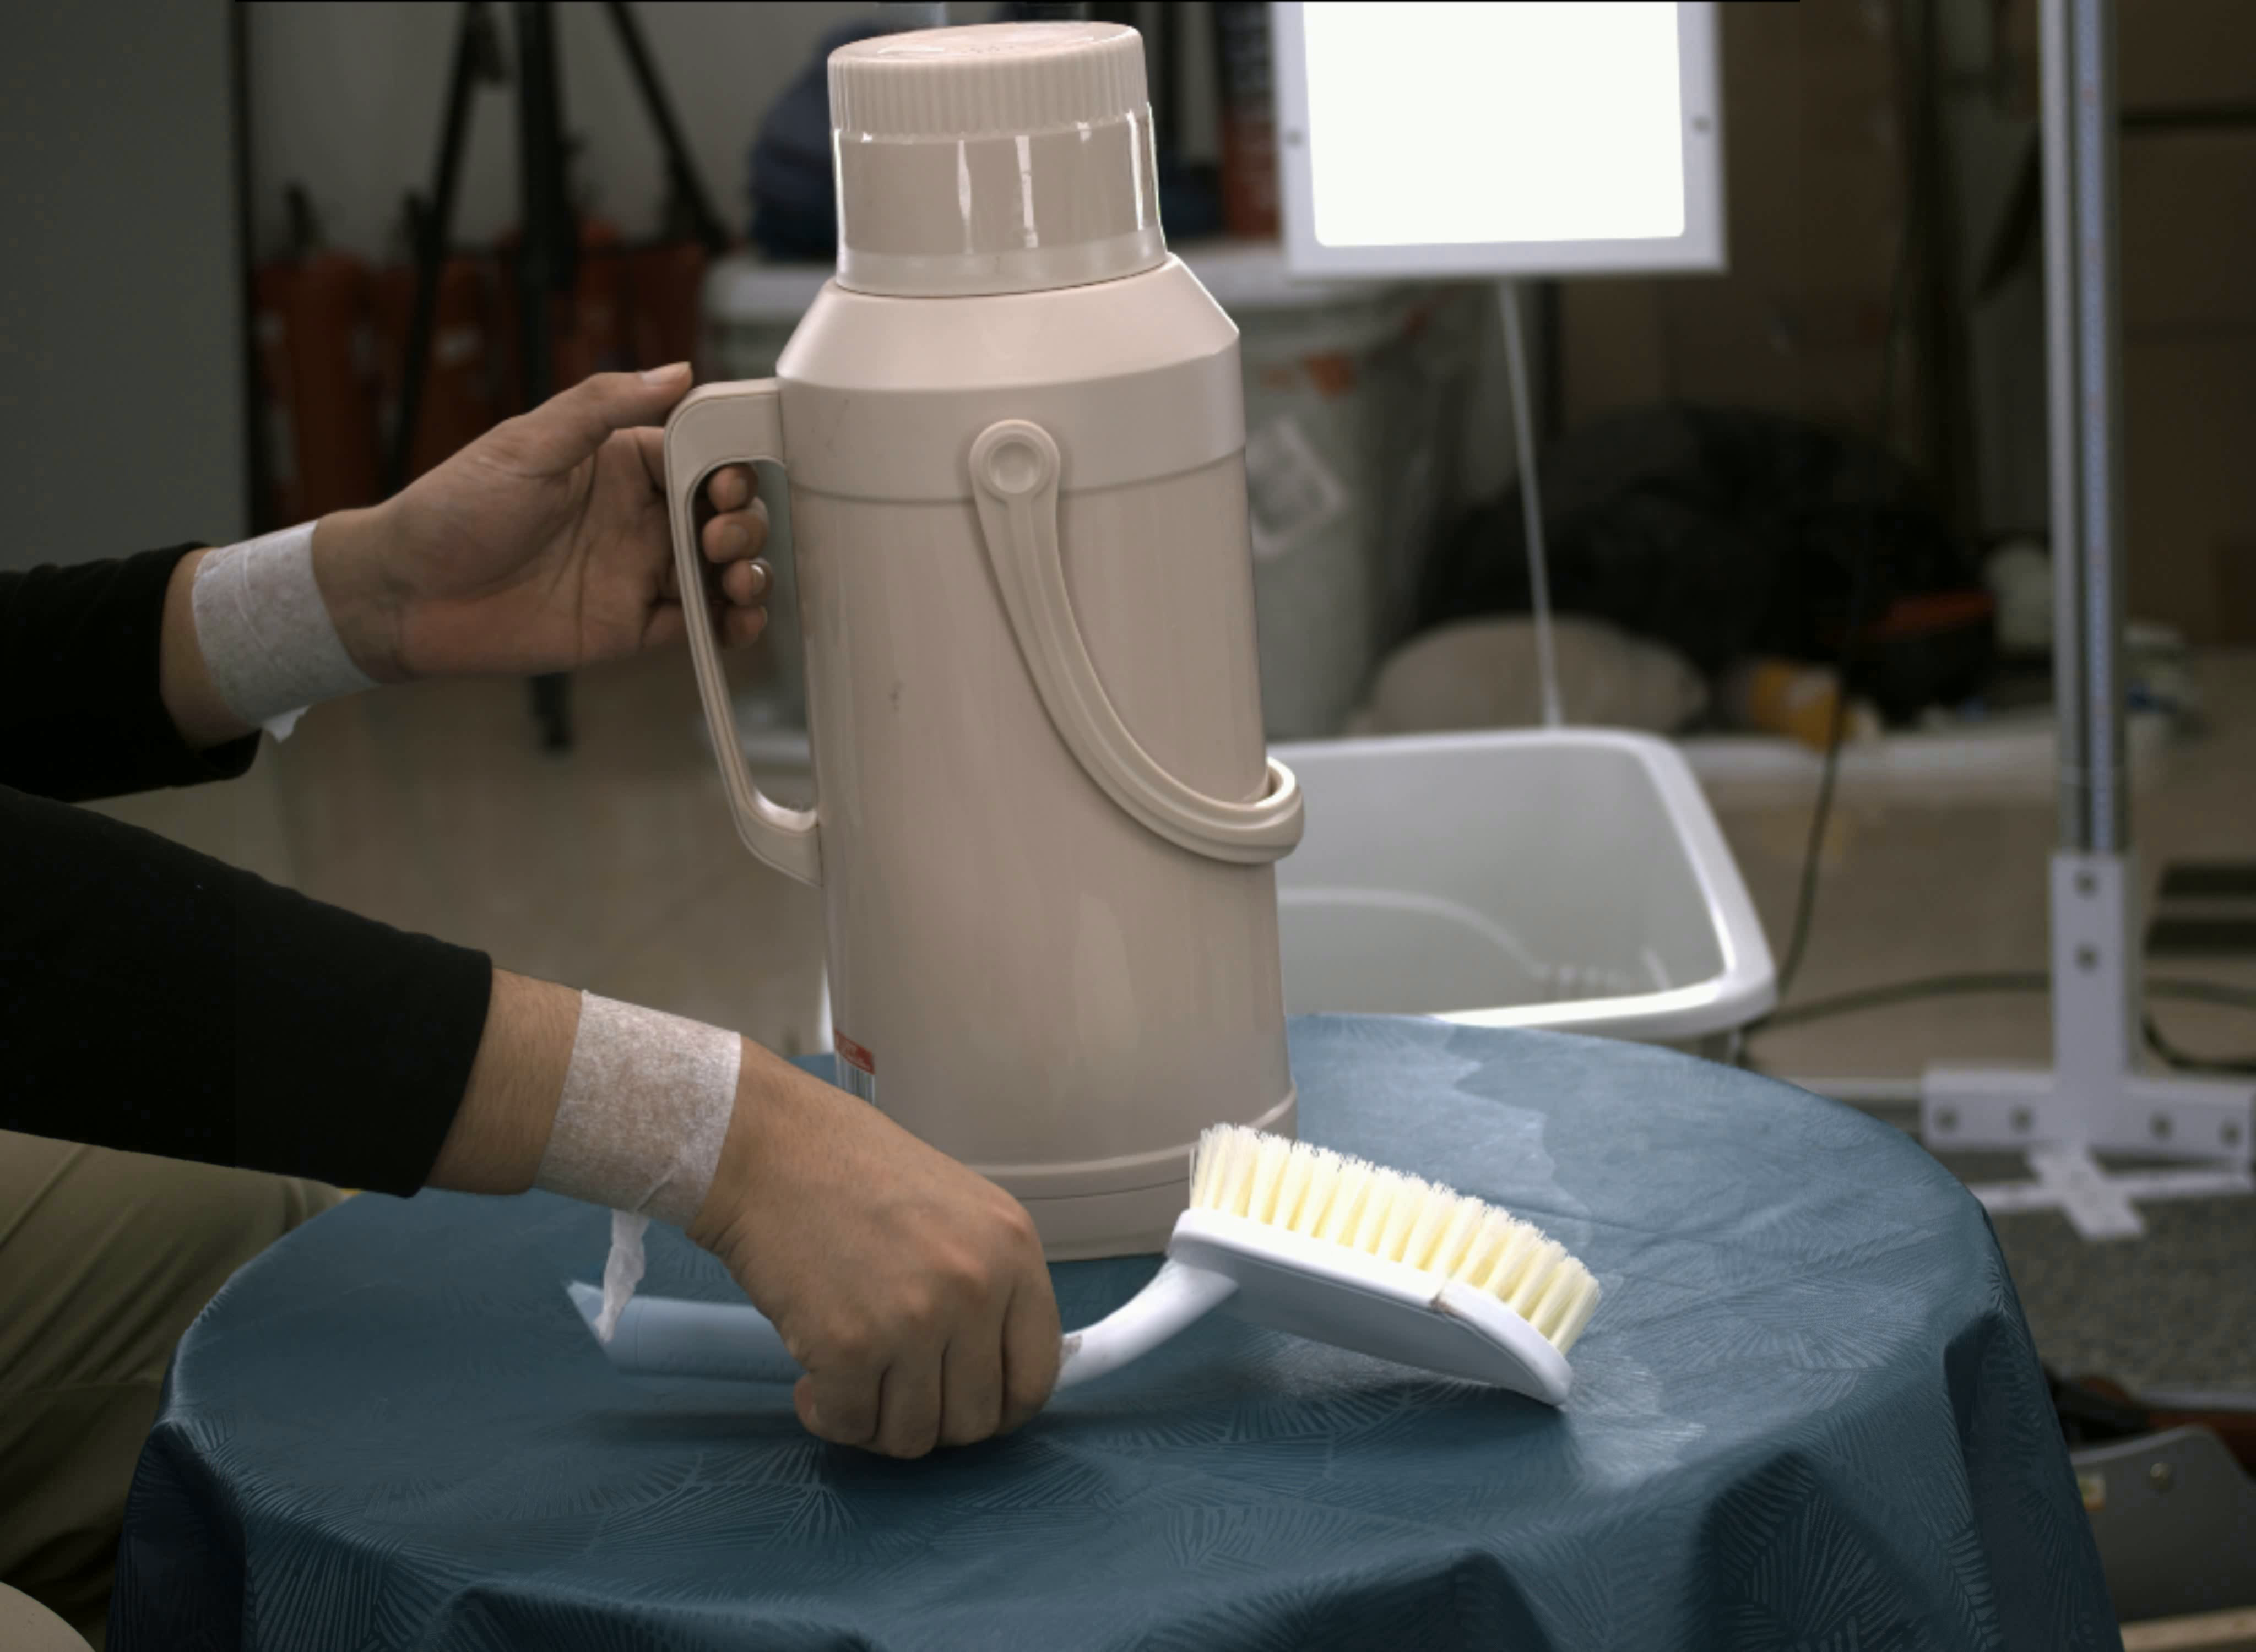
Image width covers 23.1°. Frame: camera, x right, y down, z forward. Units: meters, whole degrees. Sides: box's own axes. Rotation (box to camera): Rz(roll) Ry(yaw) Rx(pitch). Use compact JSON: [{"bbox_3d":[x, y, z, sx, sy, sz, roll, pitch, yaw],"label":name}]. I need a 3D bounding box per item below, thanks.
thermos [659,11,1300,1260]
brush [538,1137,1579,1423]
[{"bbox_3d":[-0.049,-0.065,1.862,0.206,0.408,0.175,-4,15,0],"label":"thermos"},{"bbox_3d":[-0.022,0.131,1.695,0.328,0.083,0.083,3,24,14],"label":"brush"}]
